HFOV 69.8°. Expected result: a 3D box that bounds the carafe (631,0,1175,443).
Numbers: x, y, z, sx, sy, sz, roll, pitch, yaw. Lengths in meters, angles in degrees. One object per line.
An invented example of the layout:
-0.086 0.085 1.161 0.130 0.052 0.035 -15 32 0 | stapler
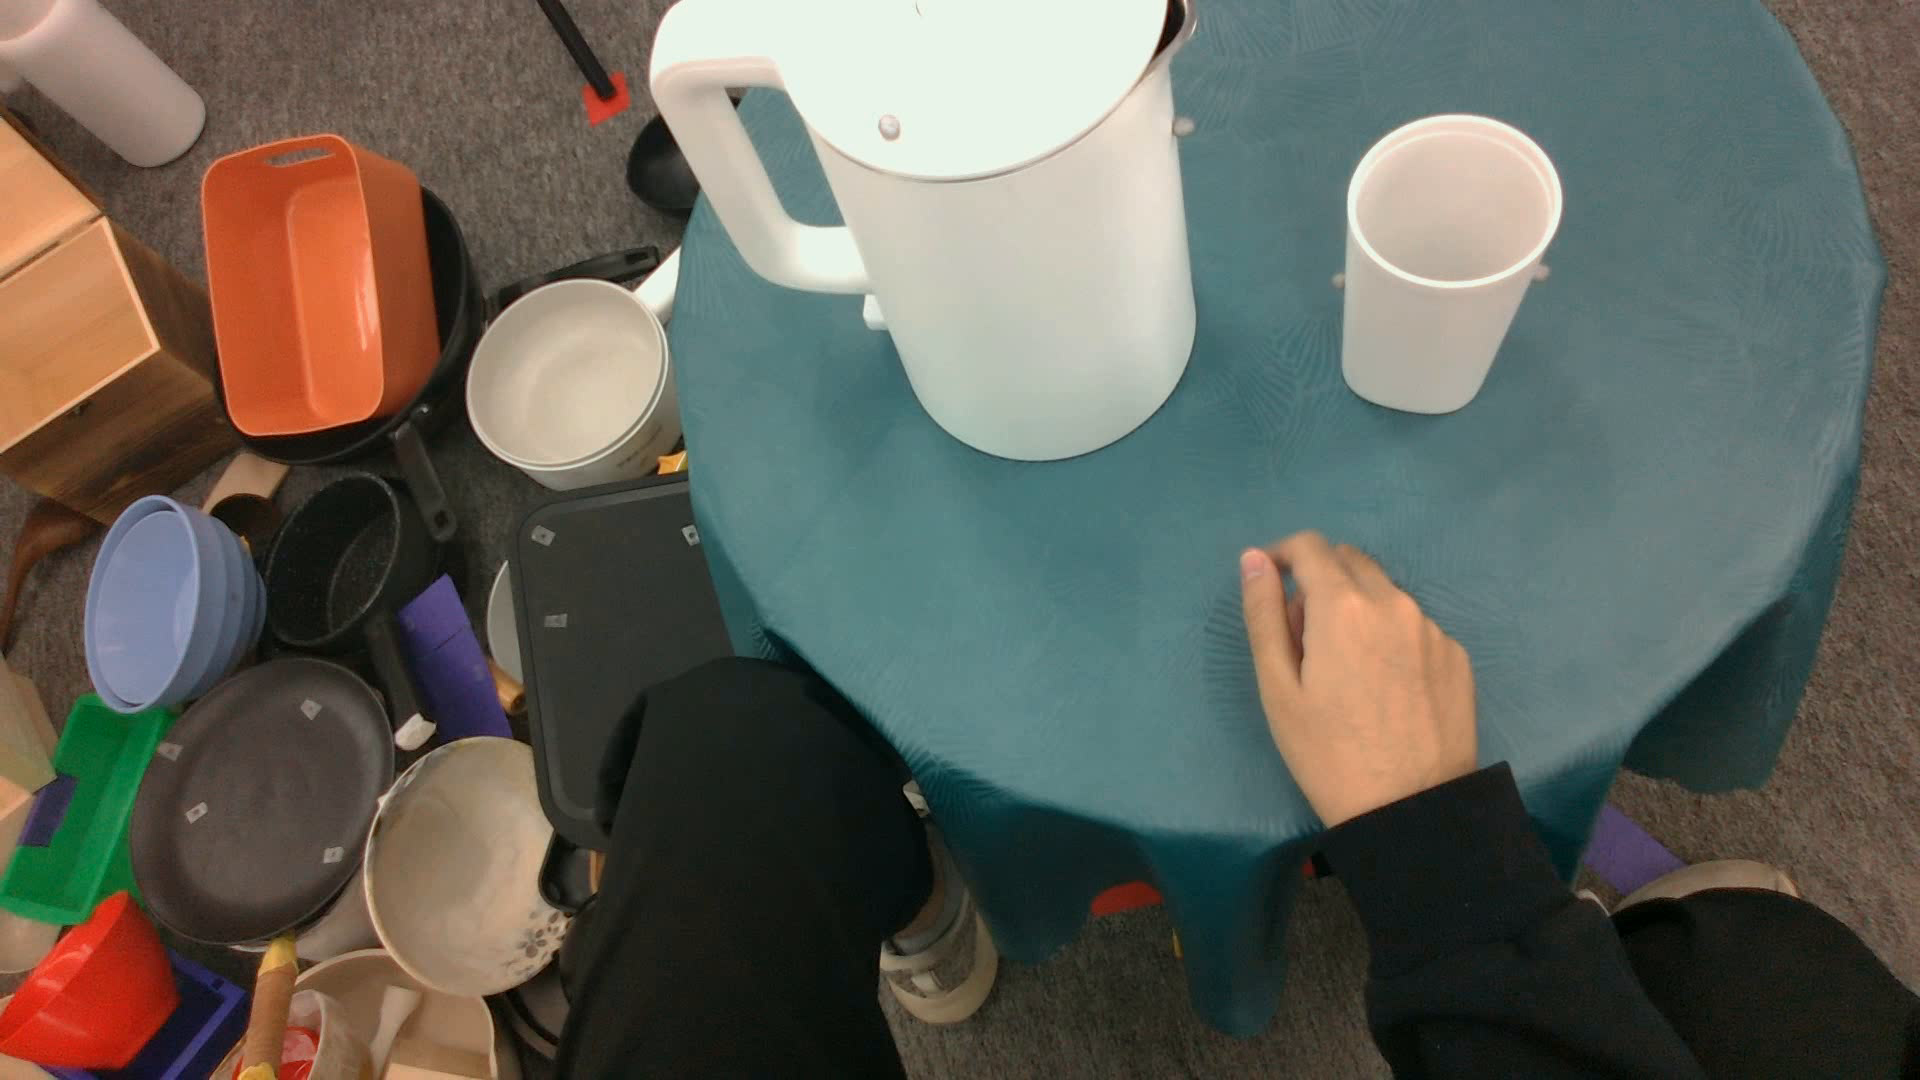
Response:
-0.011 -0.162 0.610 0.213 0.239 0.152 2 69 10 | carafe

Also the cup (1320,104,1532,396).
0.200 -0.122 0.615 0.081 0.125 0.082 -4 69 10 | cup
